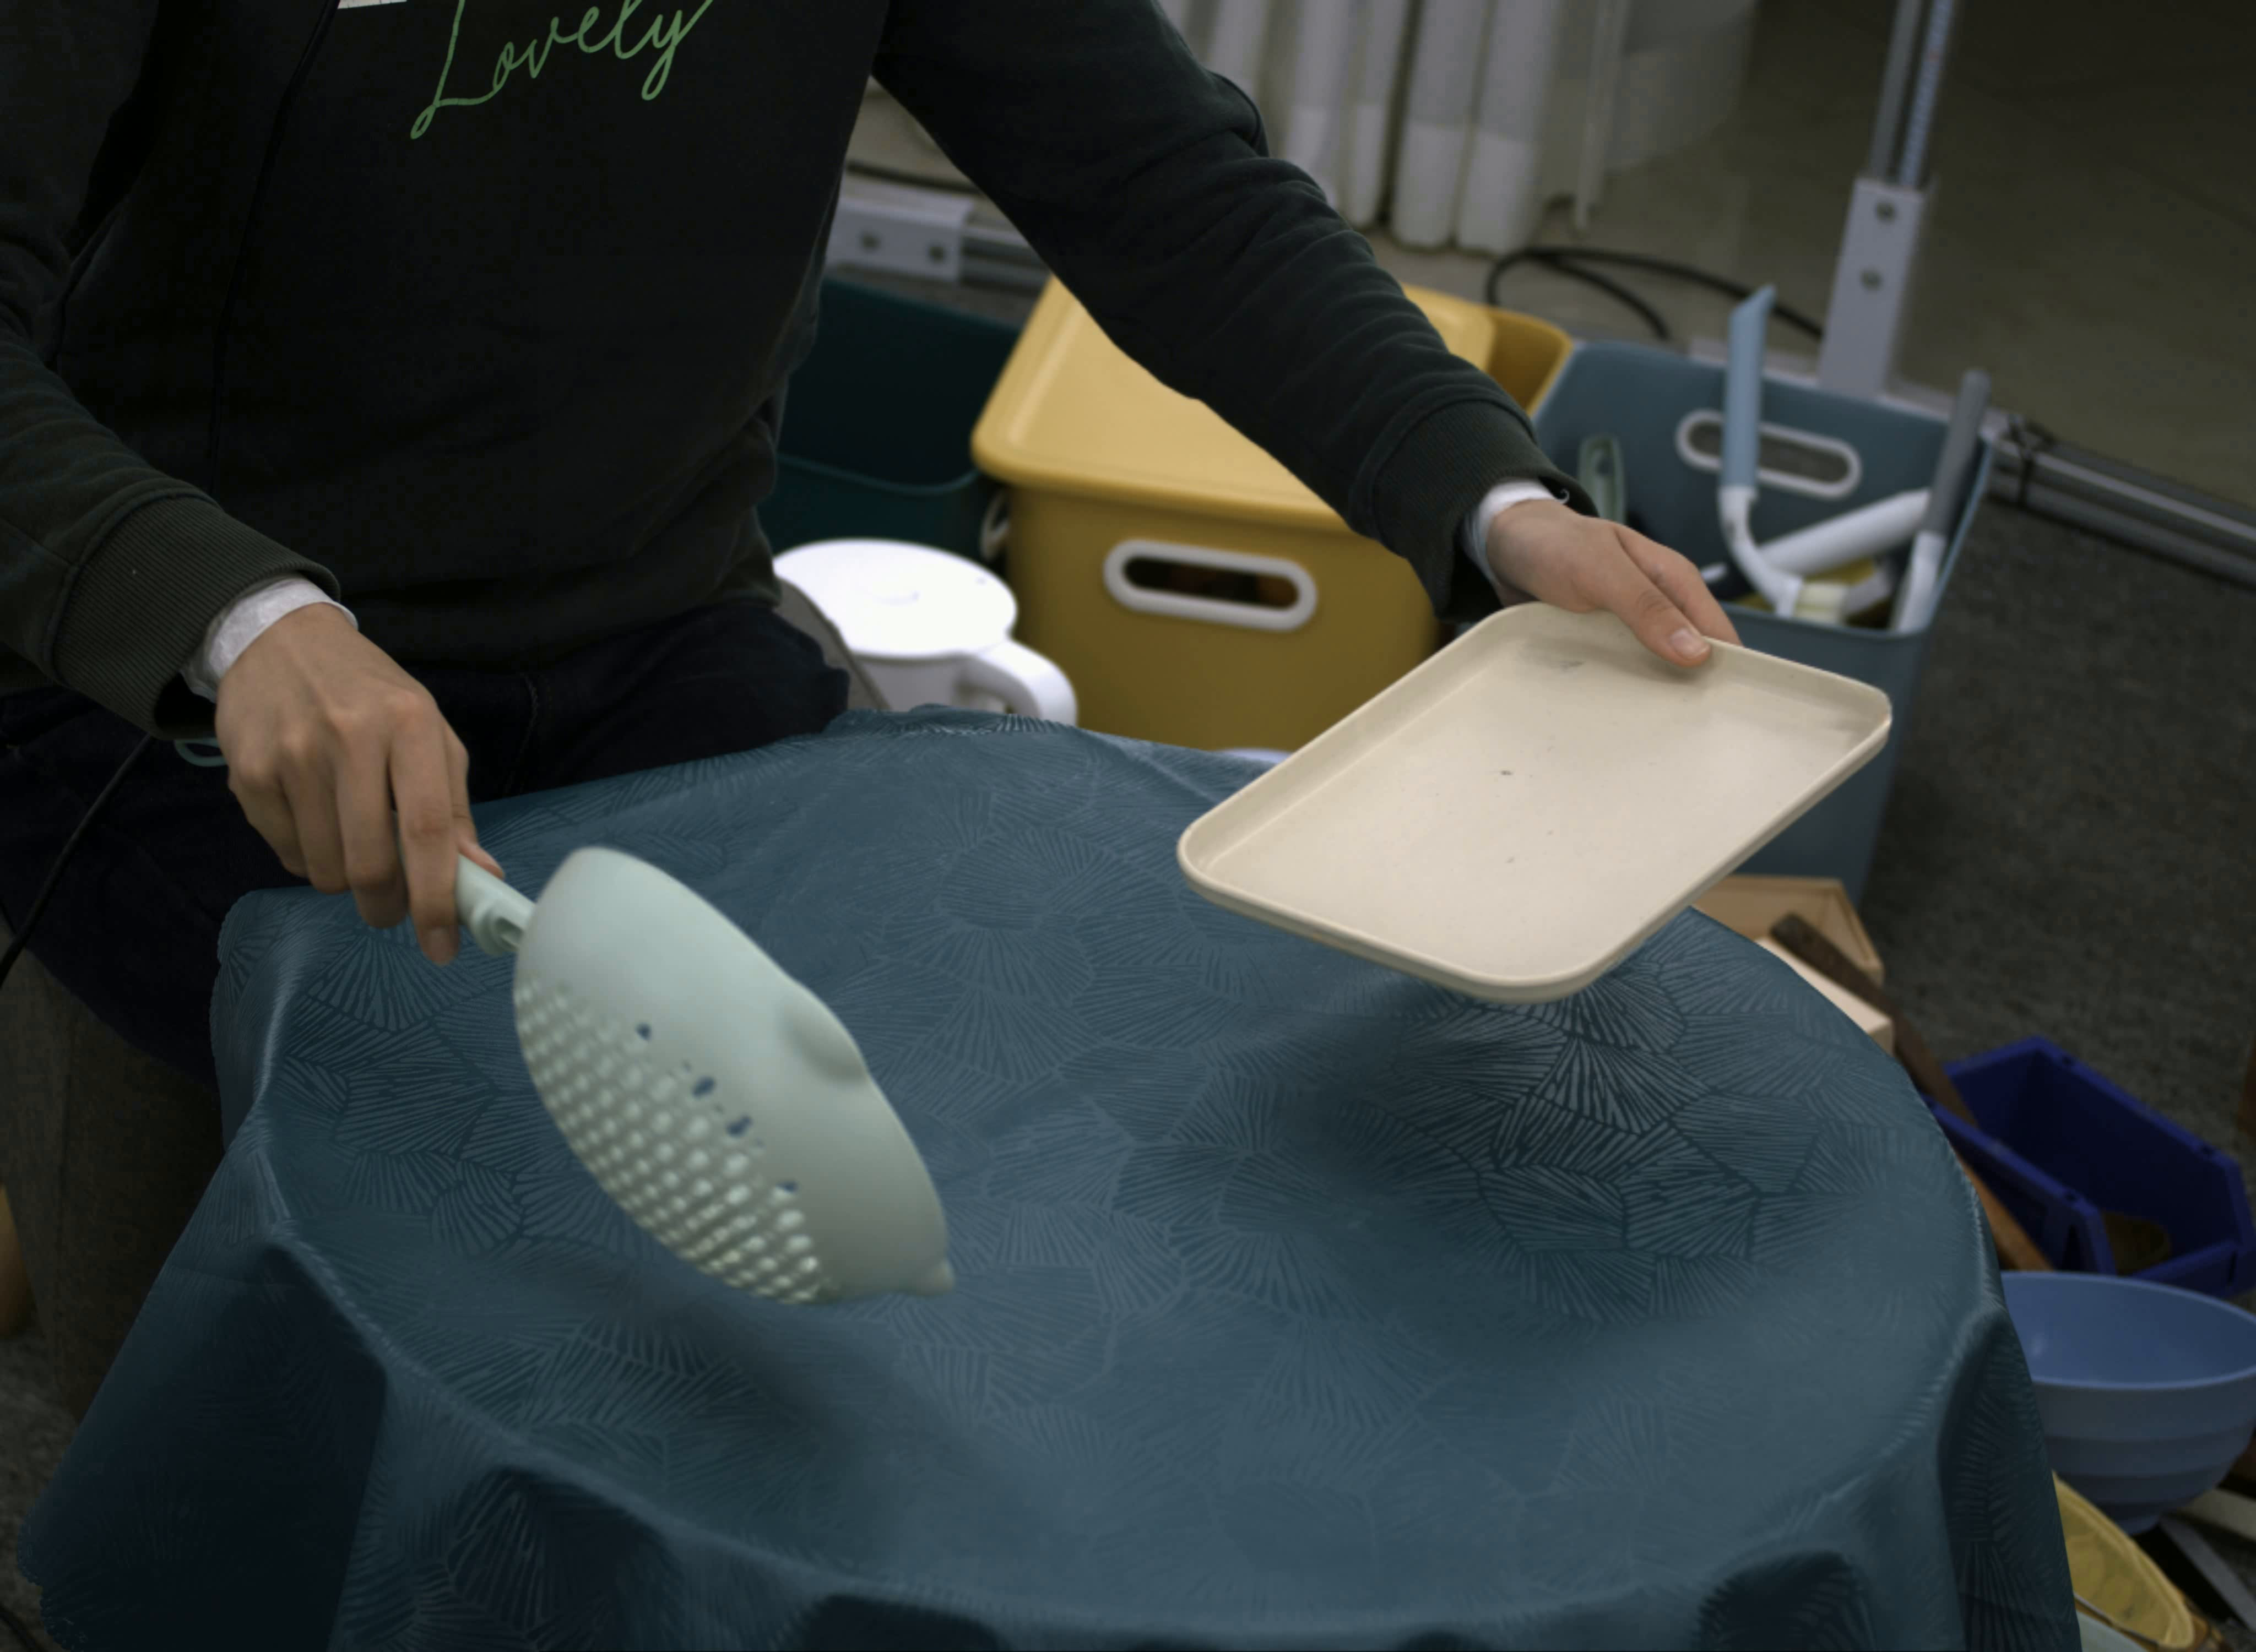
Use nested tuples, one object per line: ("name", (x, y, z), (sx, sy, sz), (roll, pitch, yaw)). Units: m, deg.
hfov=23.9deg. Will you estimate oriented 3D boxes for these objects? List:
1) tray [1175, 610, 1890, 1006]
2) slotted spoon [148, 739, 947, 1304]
("tray", (0.143, -0.008, 1.854), (0.172, 0.017, 0.239), (18, 36, 35))
("slotted spoon", (-0.193, 0.040, 1.674), (0.075, 0.168, 0.362), (-34, 45, -19))
